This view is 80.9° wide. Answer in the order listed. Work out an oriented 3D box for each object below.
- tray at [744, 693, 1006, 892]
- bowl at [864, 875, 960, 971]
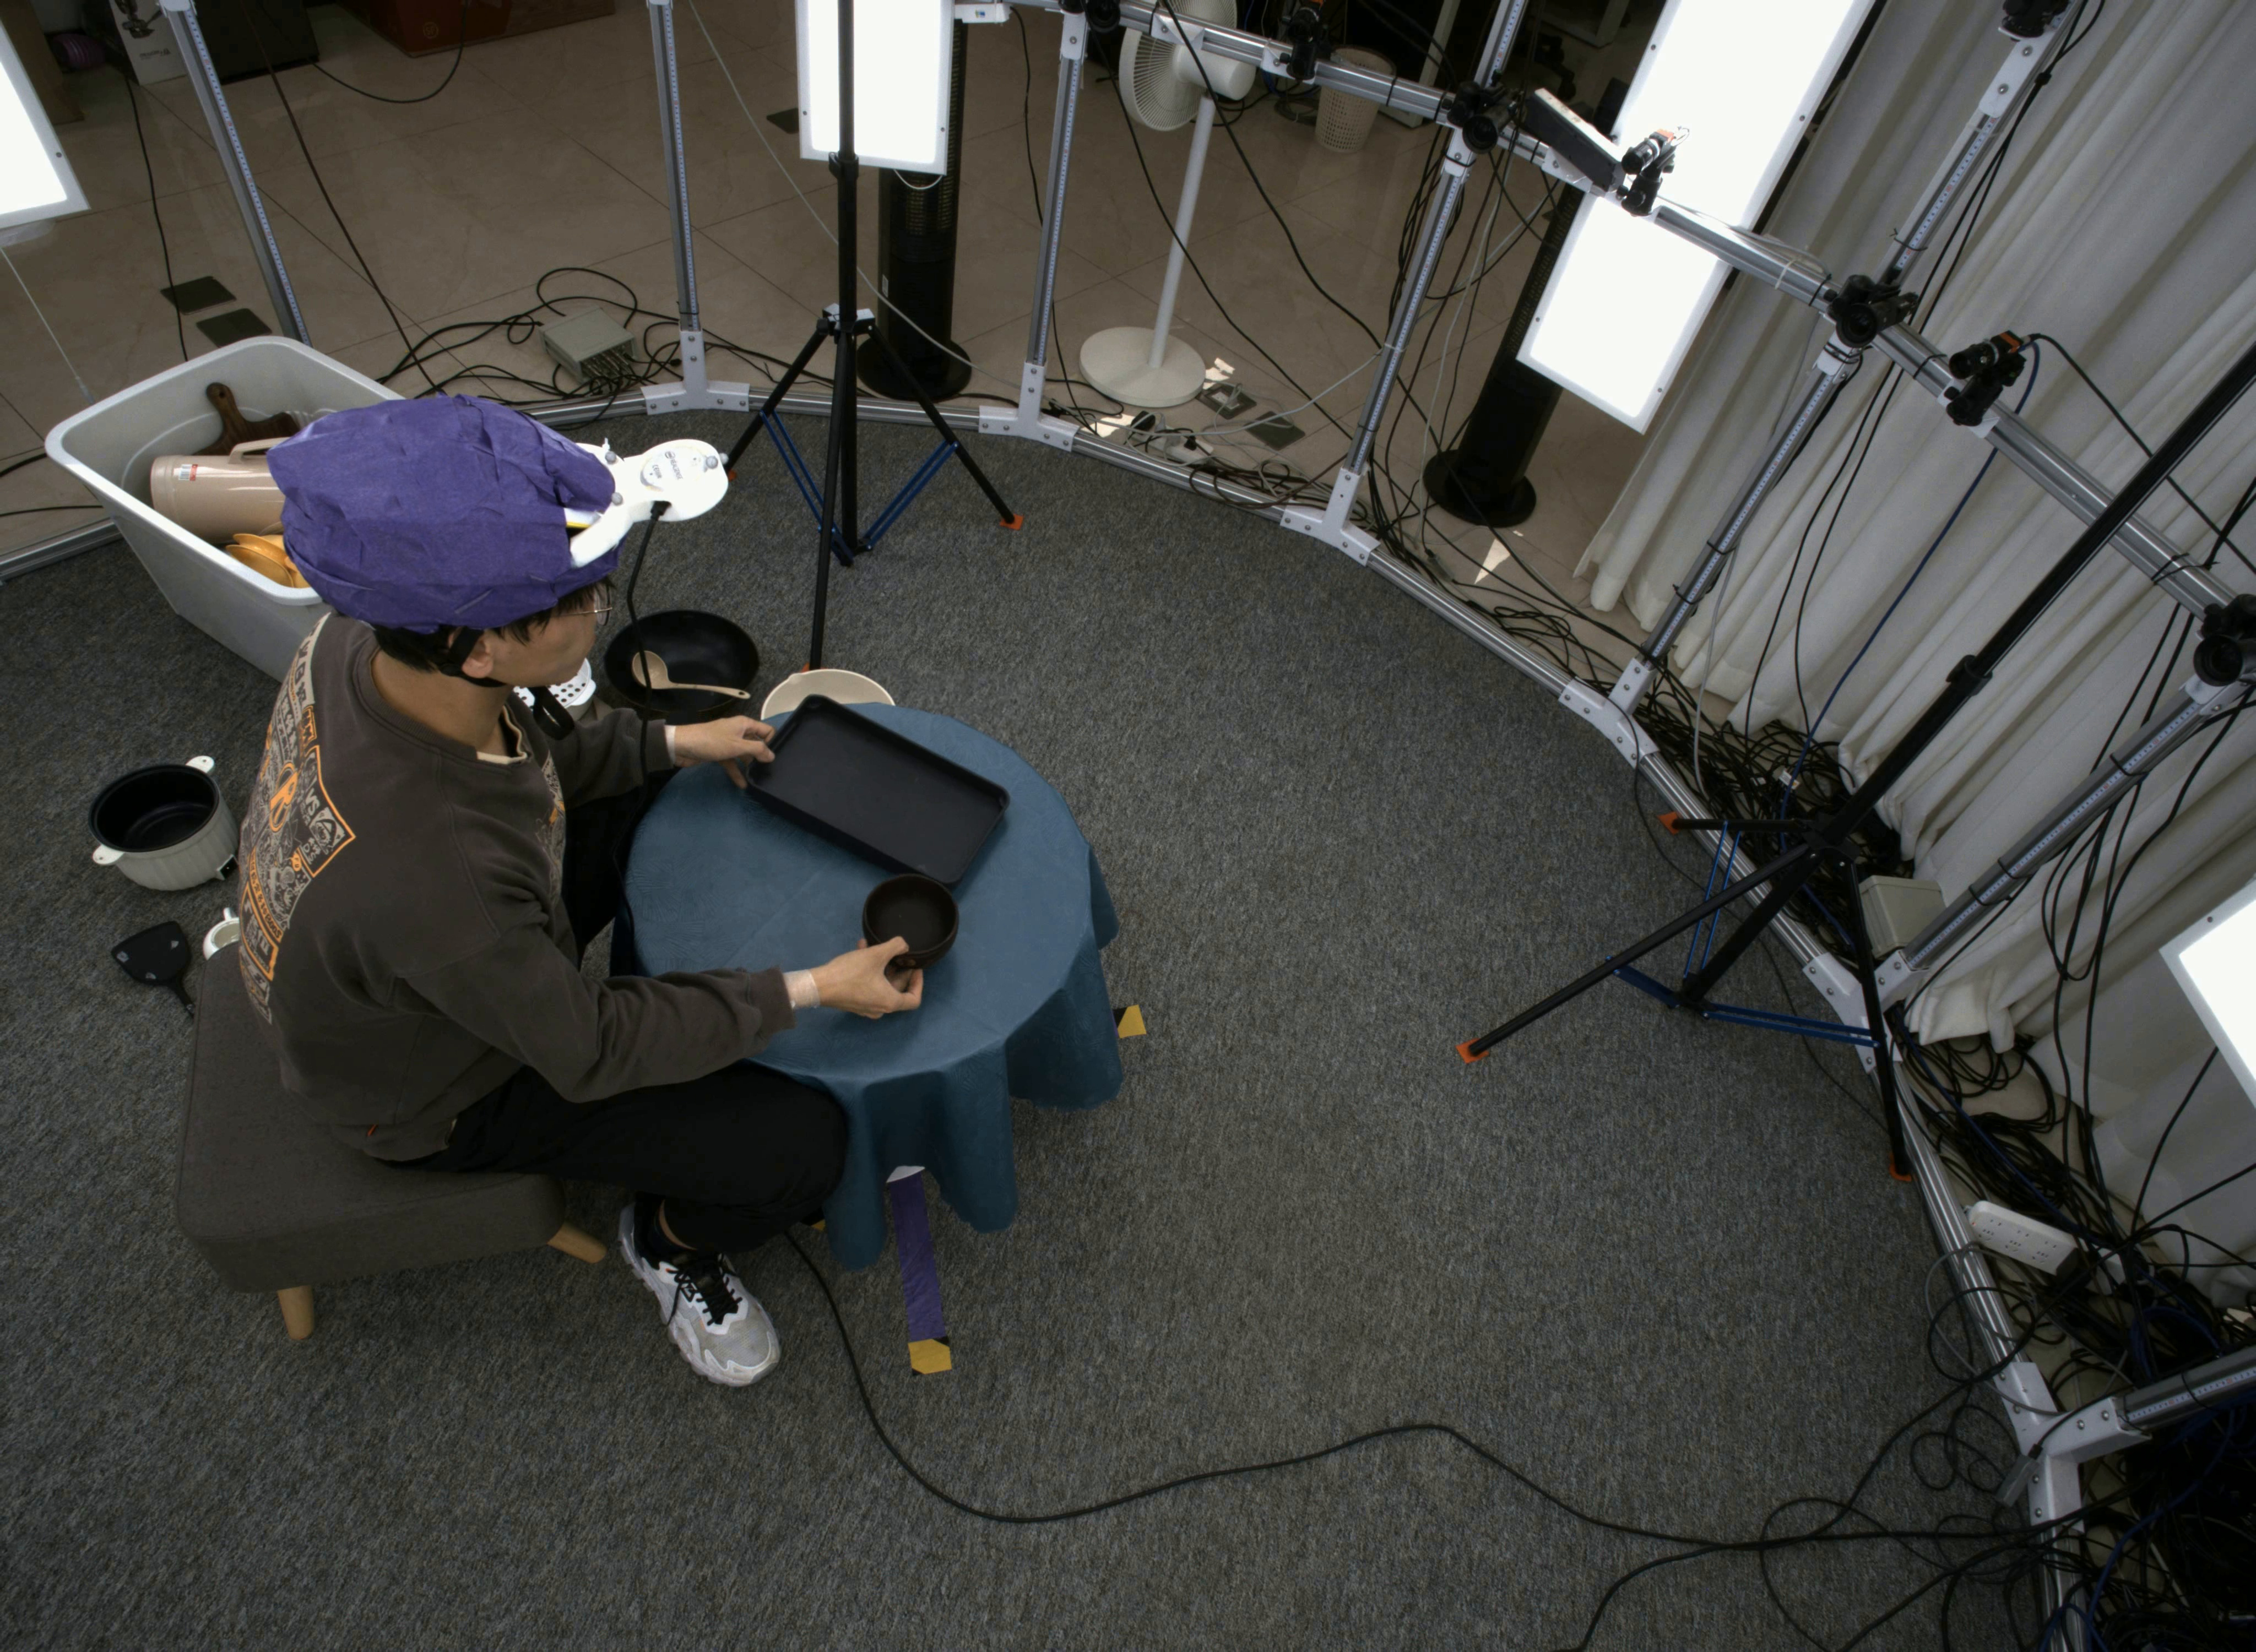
[{"bbox_3d":[-0.339,-0.047,1.753,0.316,0.037,0.183,27,54,-1],"label":"tray"},{"bbox_3d":[-0.269,0.126,1.622,0.118,0.071,0.116,6,56,-8],"label":"bowl"}]
